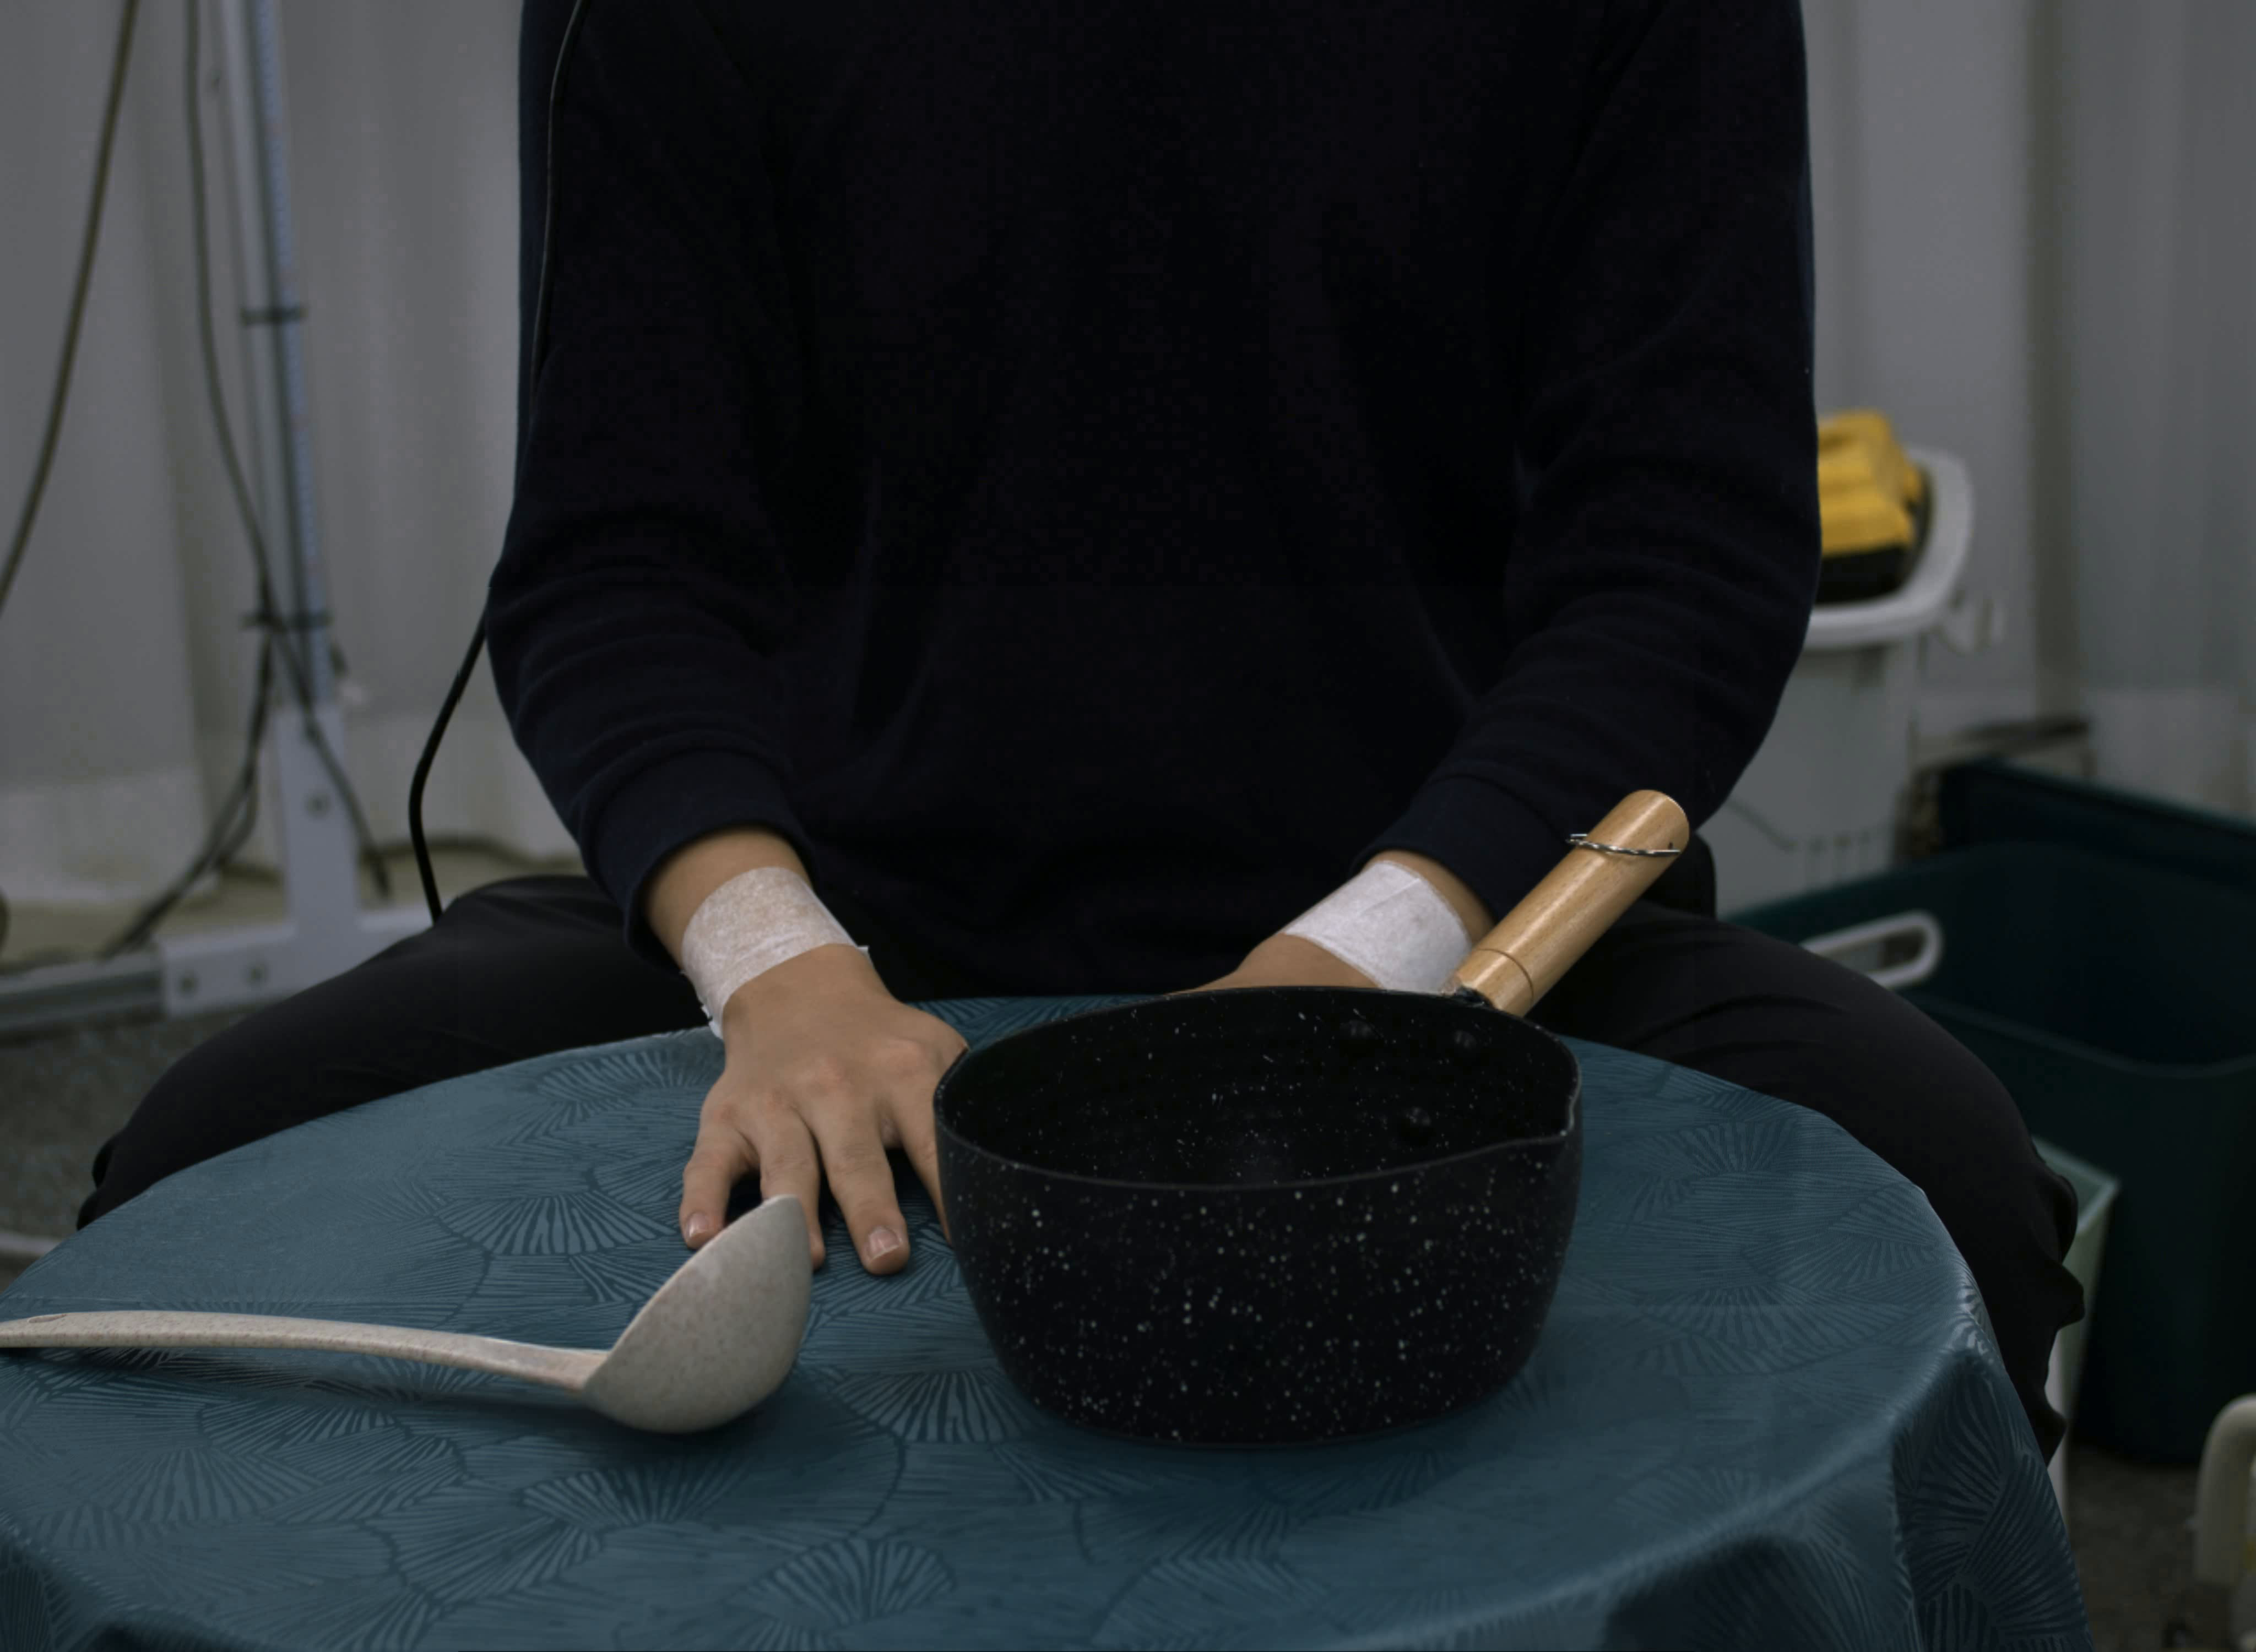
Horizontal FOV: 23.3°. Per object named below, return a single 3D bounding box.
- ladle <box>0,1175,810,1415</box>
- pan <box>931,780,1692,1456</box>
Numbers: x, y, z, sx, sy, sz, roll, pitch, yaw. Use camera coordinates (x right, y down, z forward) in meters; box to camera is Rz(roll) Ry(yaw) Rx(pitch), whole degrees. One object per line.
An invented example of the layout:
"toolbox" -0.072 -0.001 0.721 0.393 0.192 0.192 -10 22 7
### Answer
"ladle" -0.219 0.127 1.575 0.275 0.069 0.089 2 1 25
"pan" 0.079 0.081 1.617 0.208 0.108 0.343 5 18 32
